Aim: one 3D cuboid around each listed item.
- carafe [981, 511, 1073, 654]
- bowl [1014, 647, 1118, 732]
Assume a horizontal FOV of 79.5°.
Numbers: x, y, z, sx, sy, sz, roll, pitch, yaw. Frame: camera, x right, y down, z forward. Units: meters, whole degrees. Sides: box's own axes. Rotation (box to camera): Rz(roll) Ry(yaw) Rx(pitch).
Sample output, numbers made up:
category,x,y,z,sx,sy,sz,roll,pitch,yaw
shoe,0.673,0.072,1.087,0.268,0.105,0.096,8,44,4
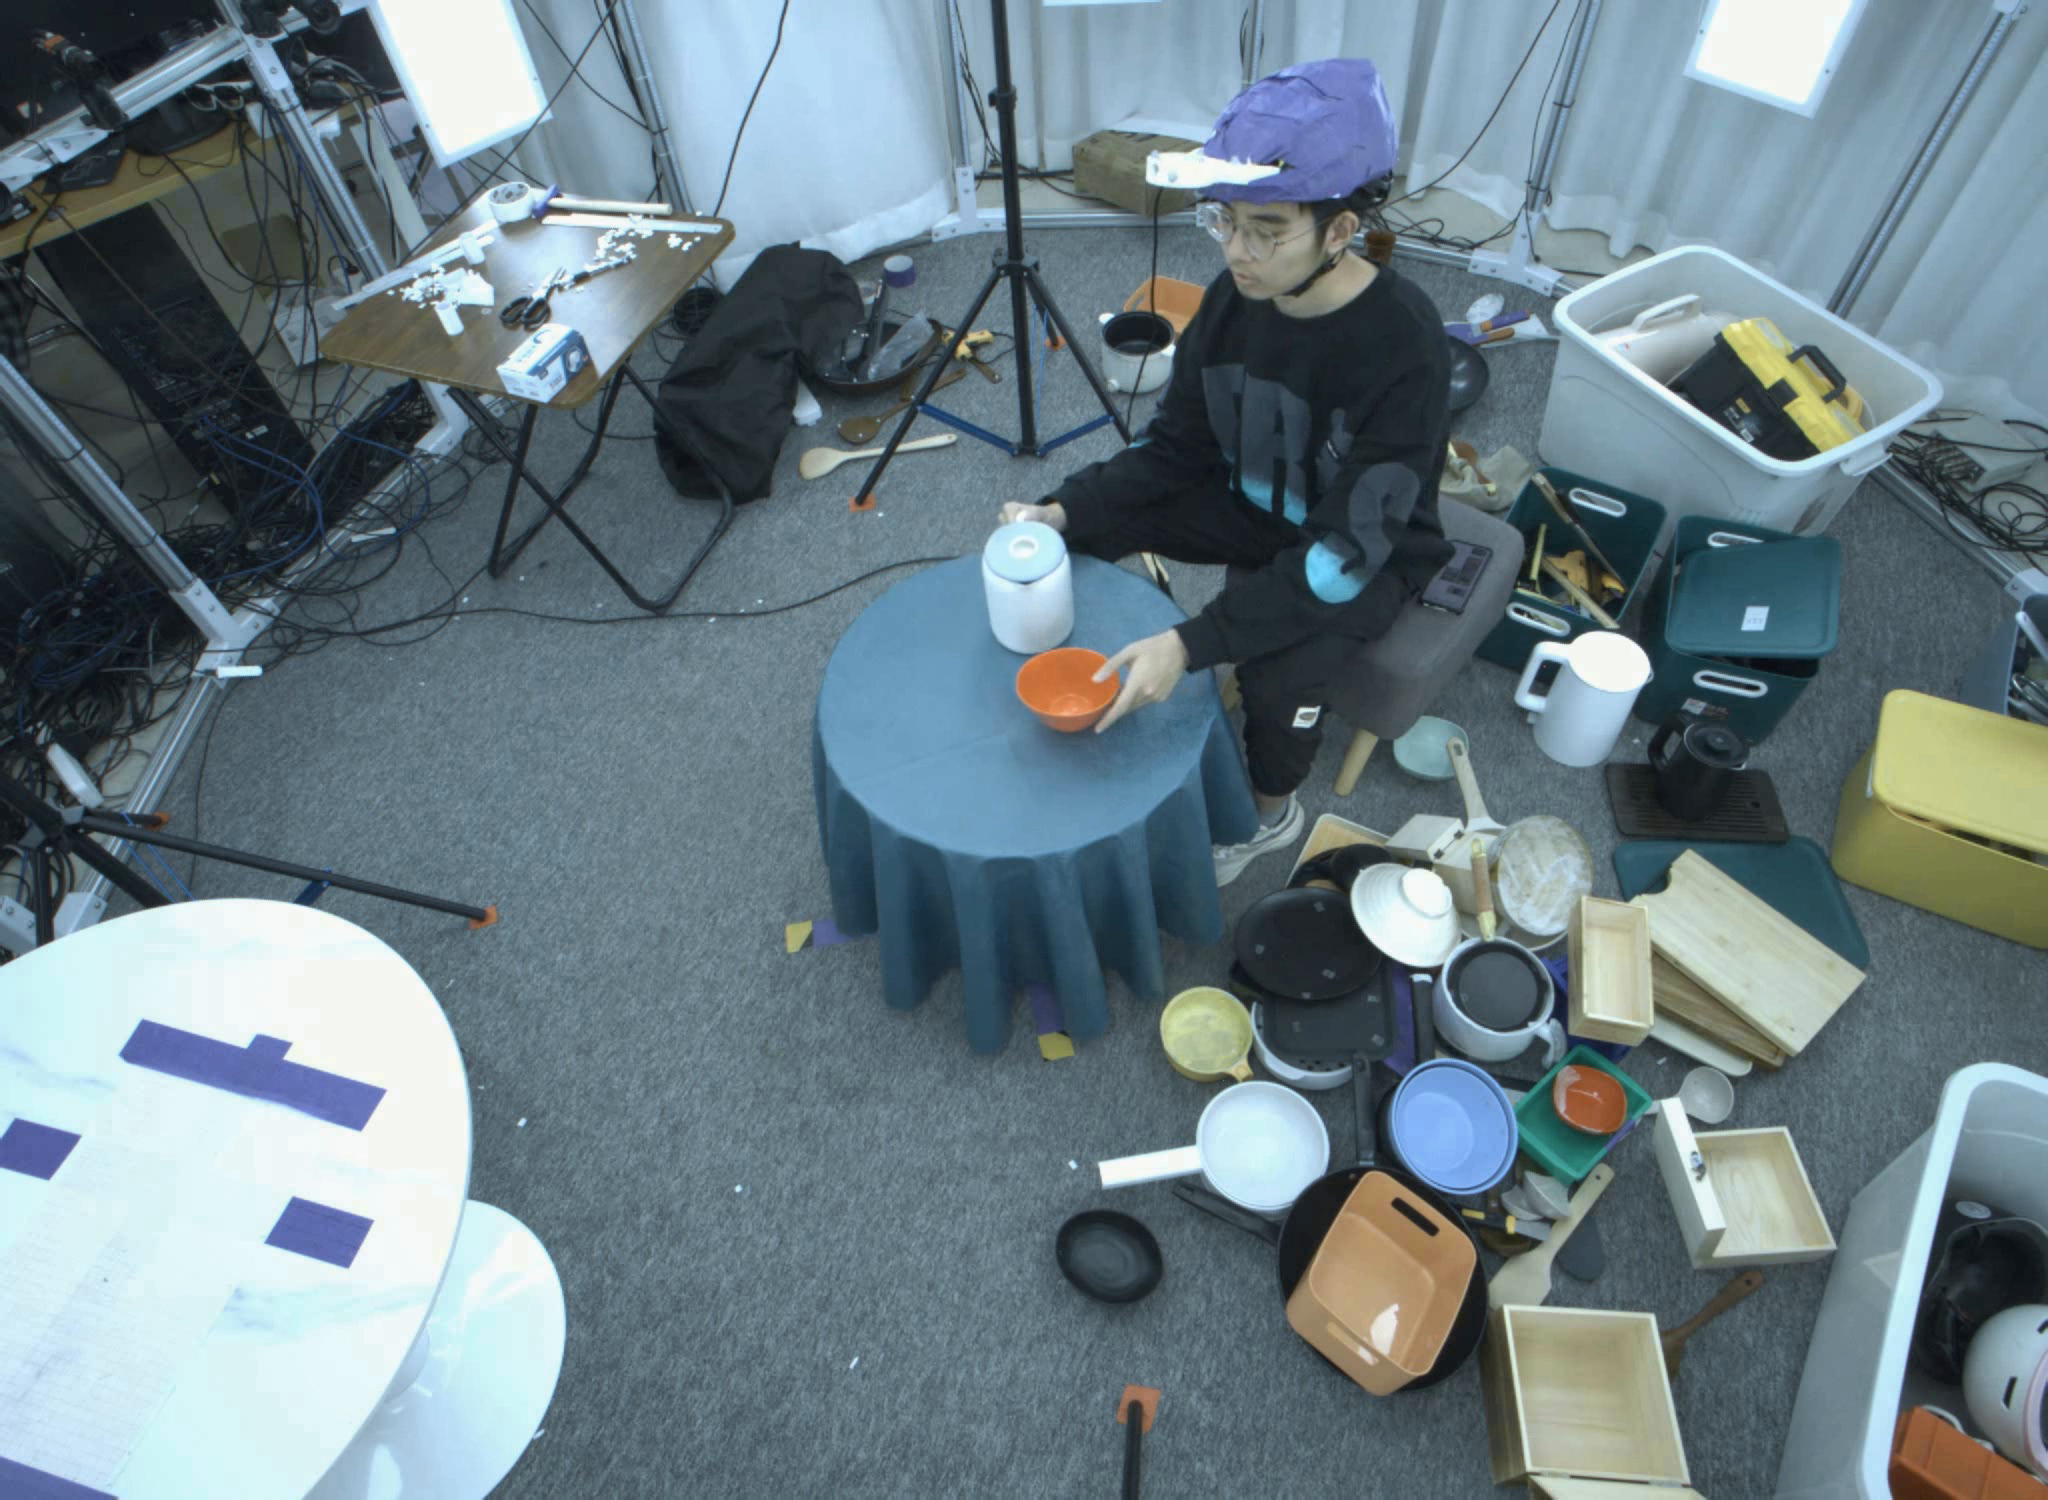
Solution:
category,x,y,z,sx,sy,sz,roll,pitch,yaw
carafe,0.003,-0.265,1.862,0.132,0.184,0.188,-6,54,0
bowl,0.062,-0.073,1.771,0.148,0.106,0.146,-1,55,2
